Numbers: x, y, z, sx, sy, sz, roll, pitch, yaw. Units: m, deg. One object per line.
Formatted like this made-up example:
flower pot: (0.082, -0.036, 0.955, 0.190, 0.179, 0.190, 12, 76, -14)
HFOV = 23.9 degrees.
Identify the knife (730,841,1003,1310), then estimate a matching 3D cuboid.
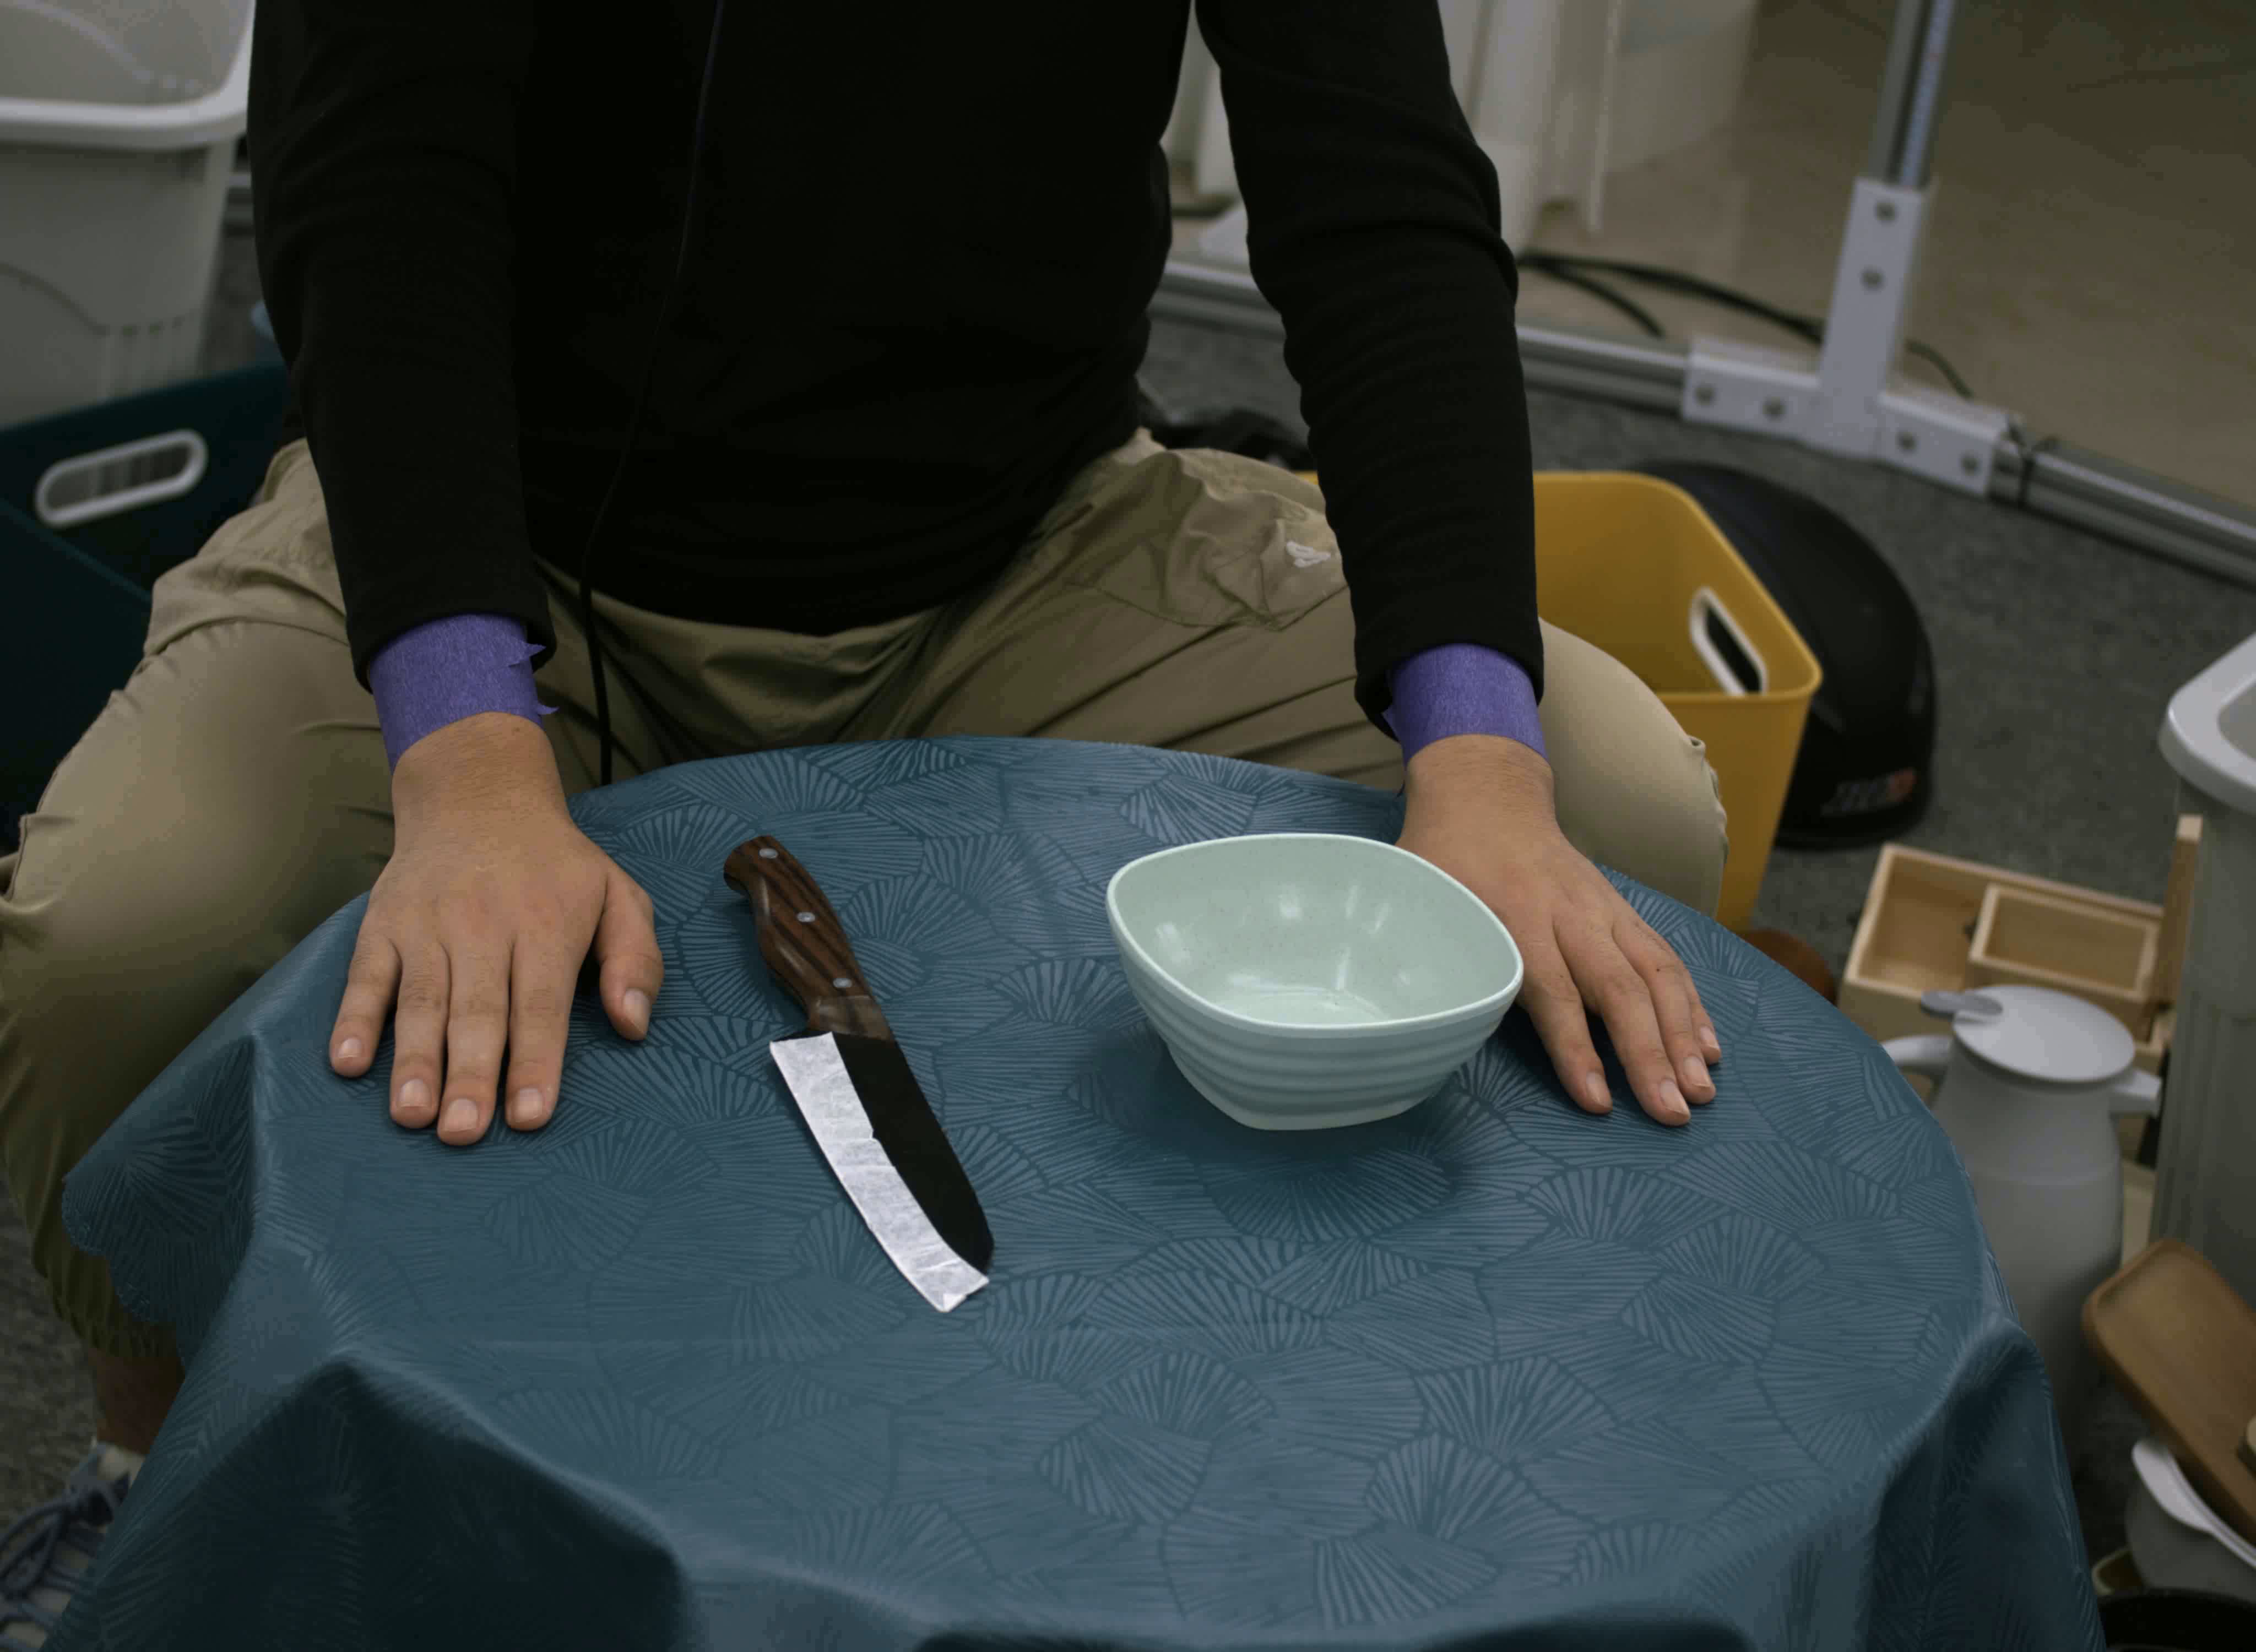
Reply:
knife: (-0.095, 0.085, 1.845, 0.050, 0.020, 0.292, -6, 32, -15)

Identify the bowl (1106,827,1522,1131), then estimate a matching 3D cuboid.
bowl: (0.062, 0.060, 1.881, 0.151, 0.058, 0.152, 6, 29, -3)
